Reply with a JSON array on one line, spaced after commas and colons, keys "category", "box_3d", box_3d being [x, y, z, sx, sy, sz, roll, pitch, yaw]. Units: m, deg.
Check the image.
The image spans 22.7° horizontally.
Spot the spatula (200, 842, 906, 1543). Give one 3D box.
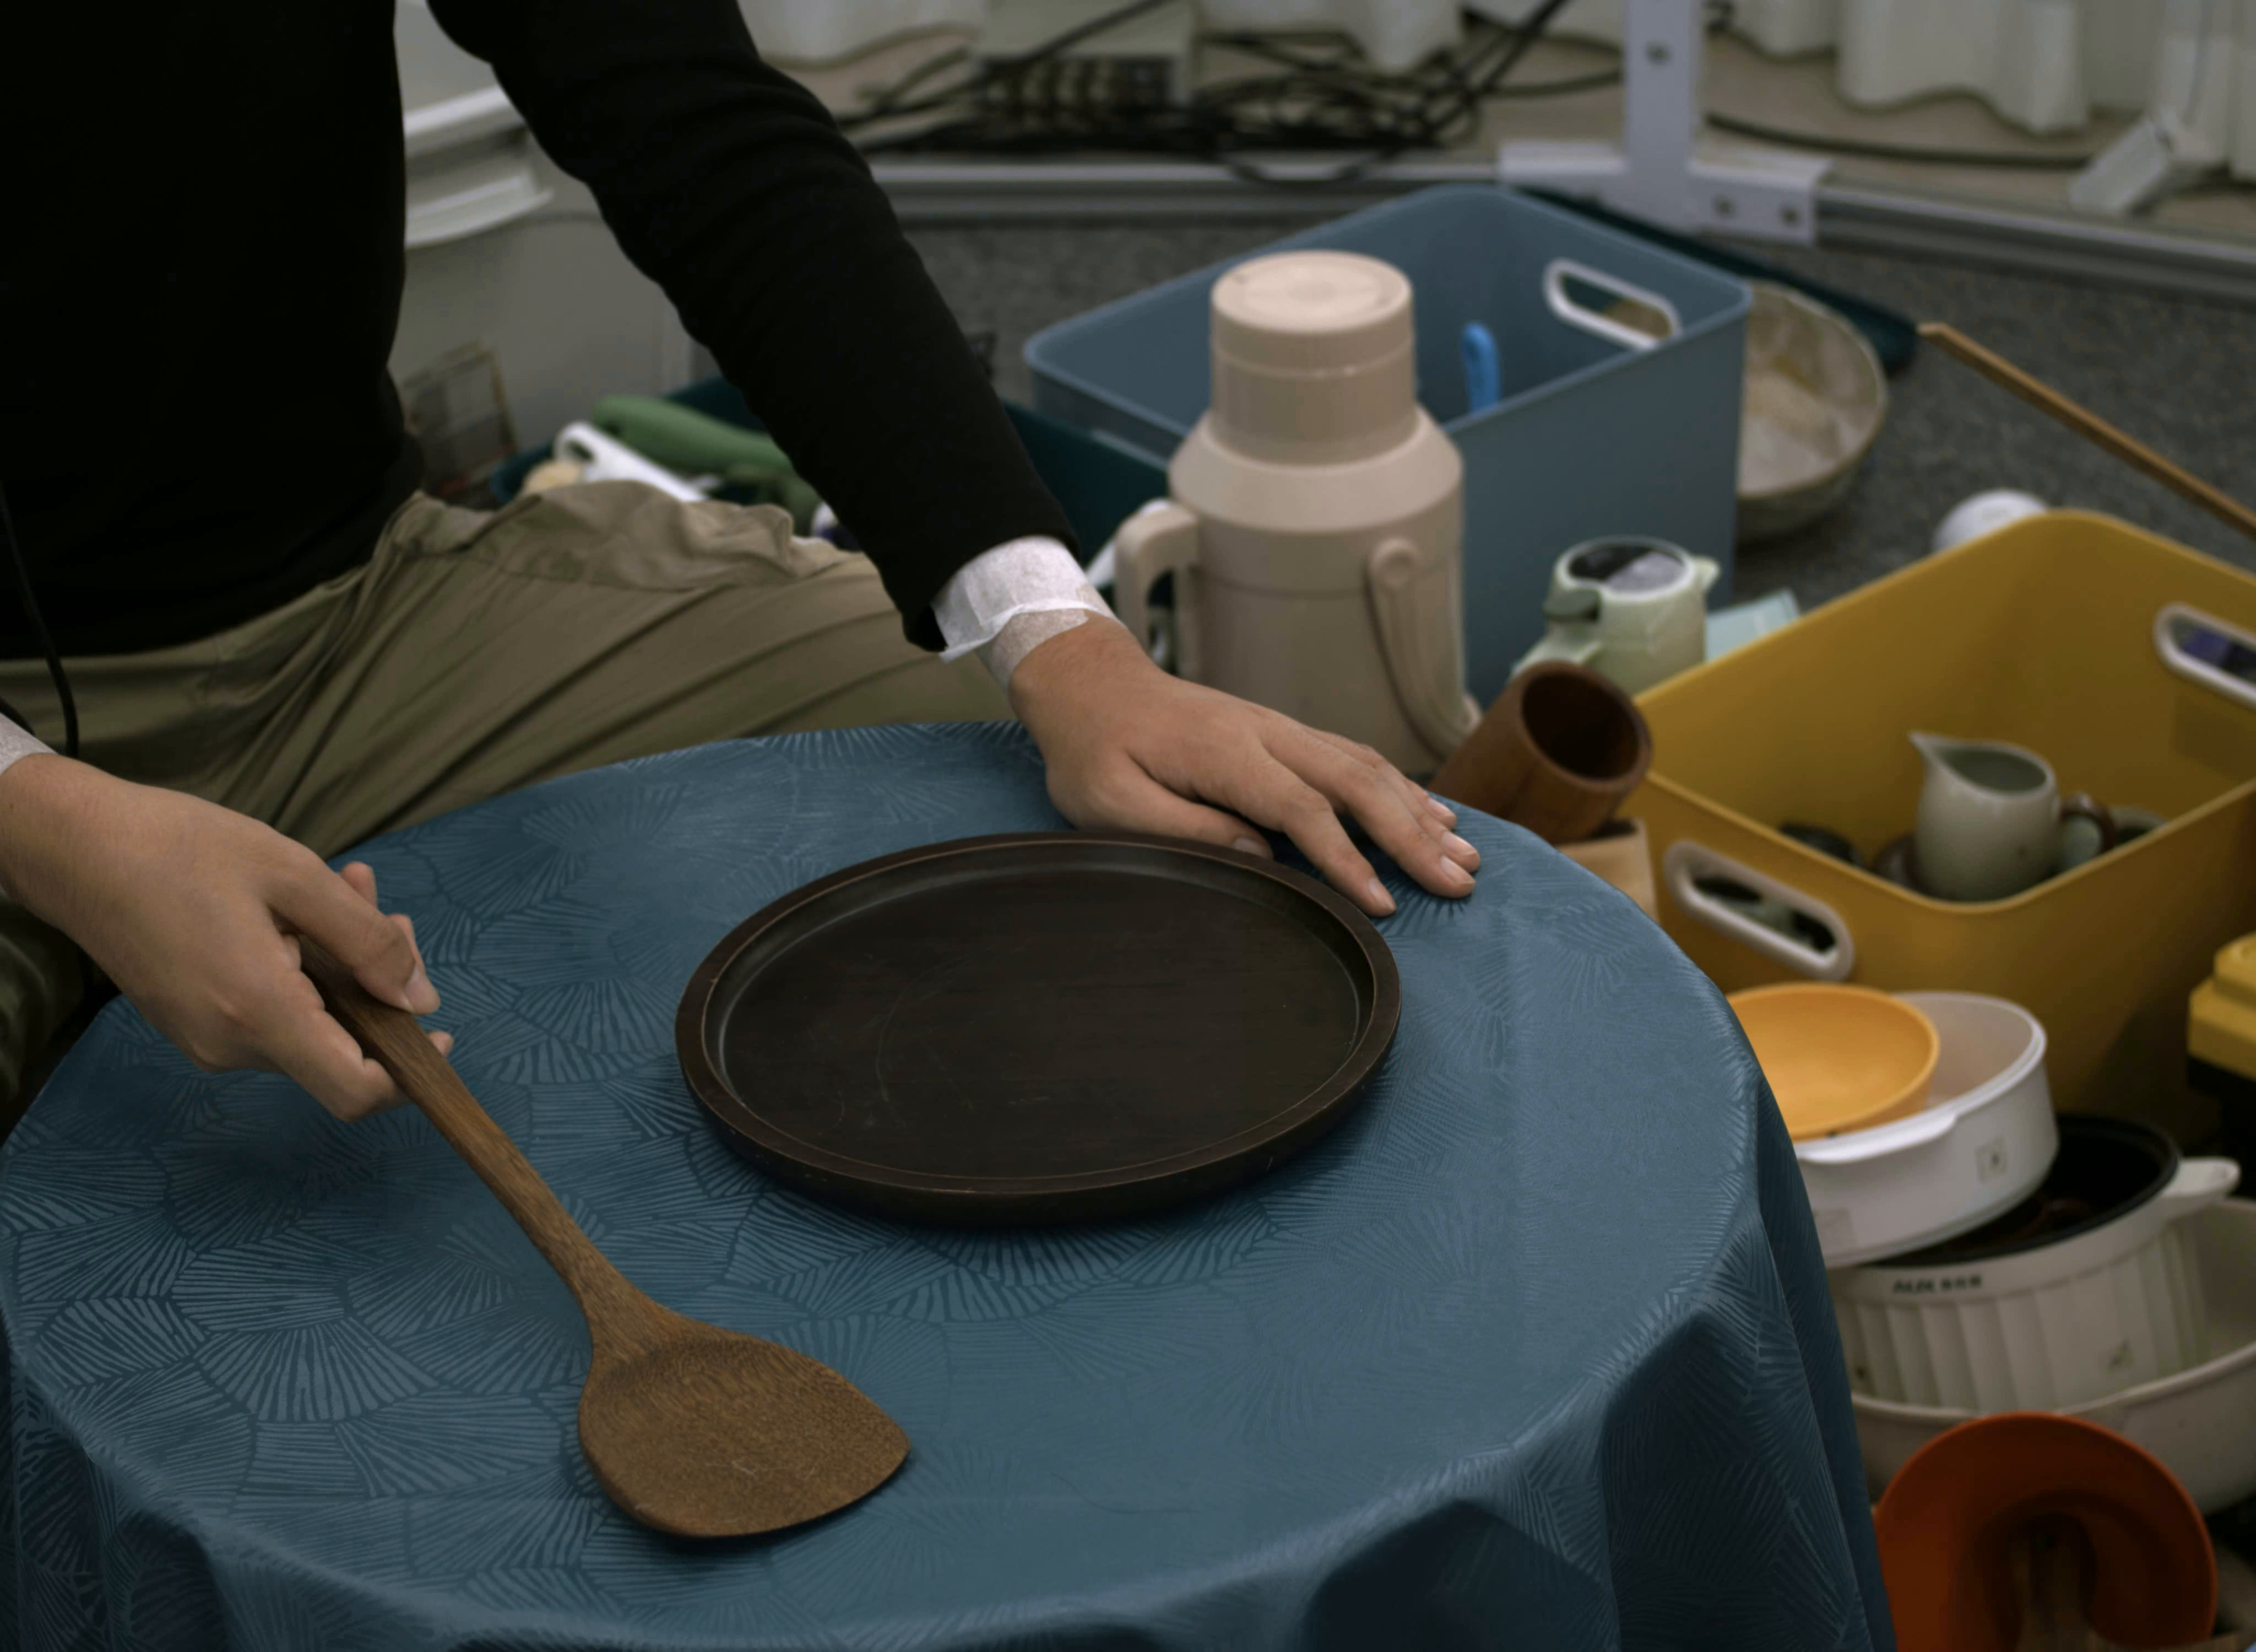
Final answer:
[{"category": "spatula", "box_3d": [-0.206, 0.109, 1.818, 0.097, 0.015, 0.388, -16, 42, -32]}]

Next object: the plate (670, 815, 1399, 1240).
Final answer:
[{"category": "plate", "box_3d": [-0.032, 0.070, 1.941, 0.253, 0.029, 0.259, -2, 29, 2]}]
